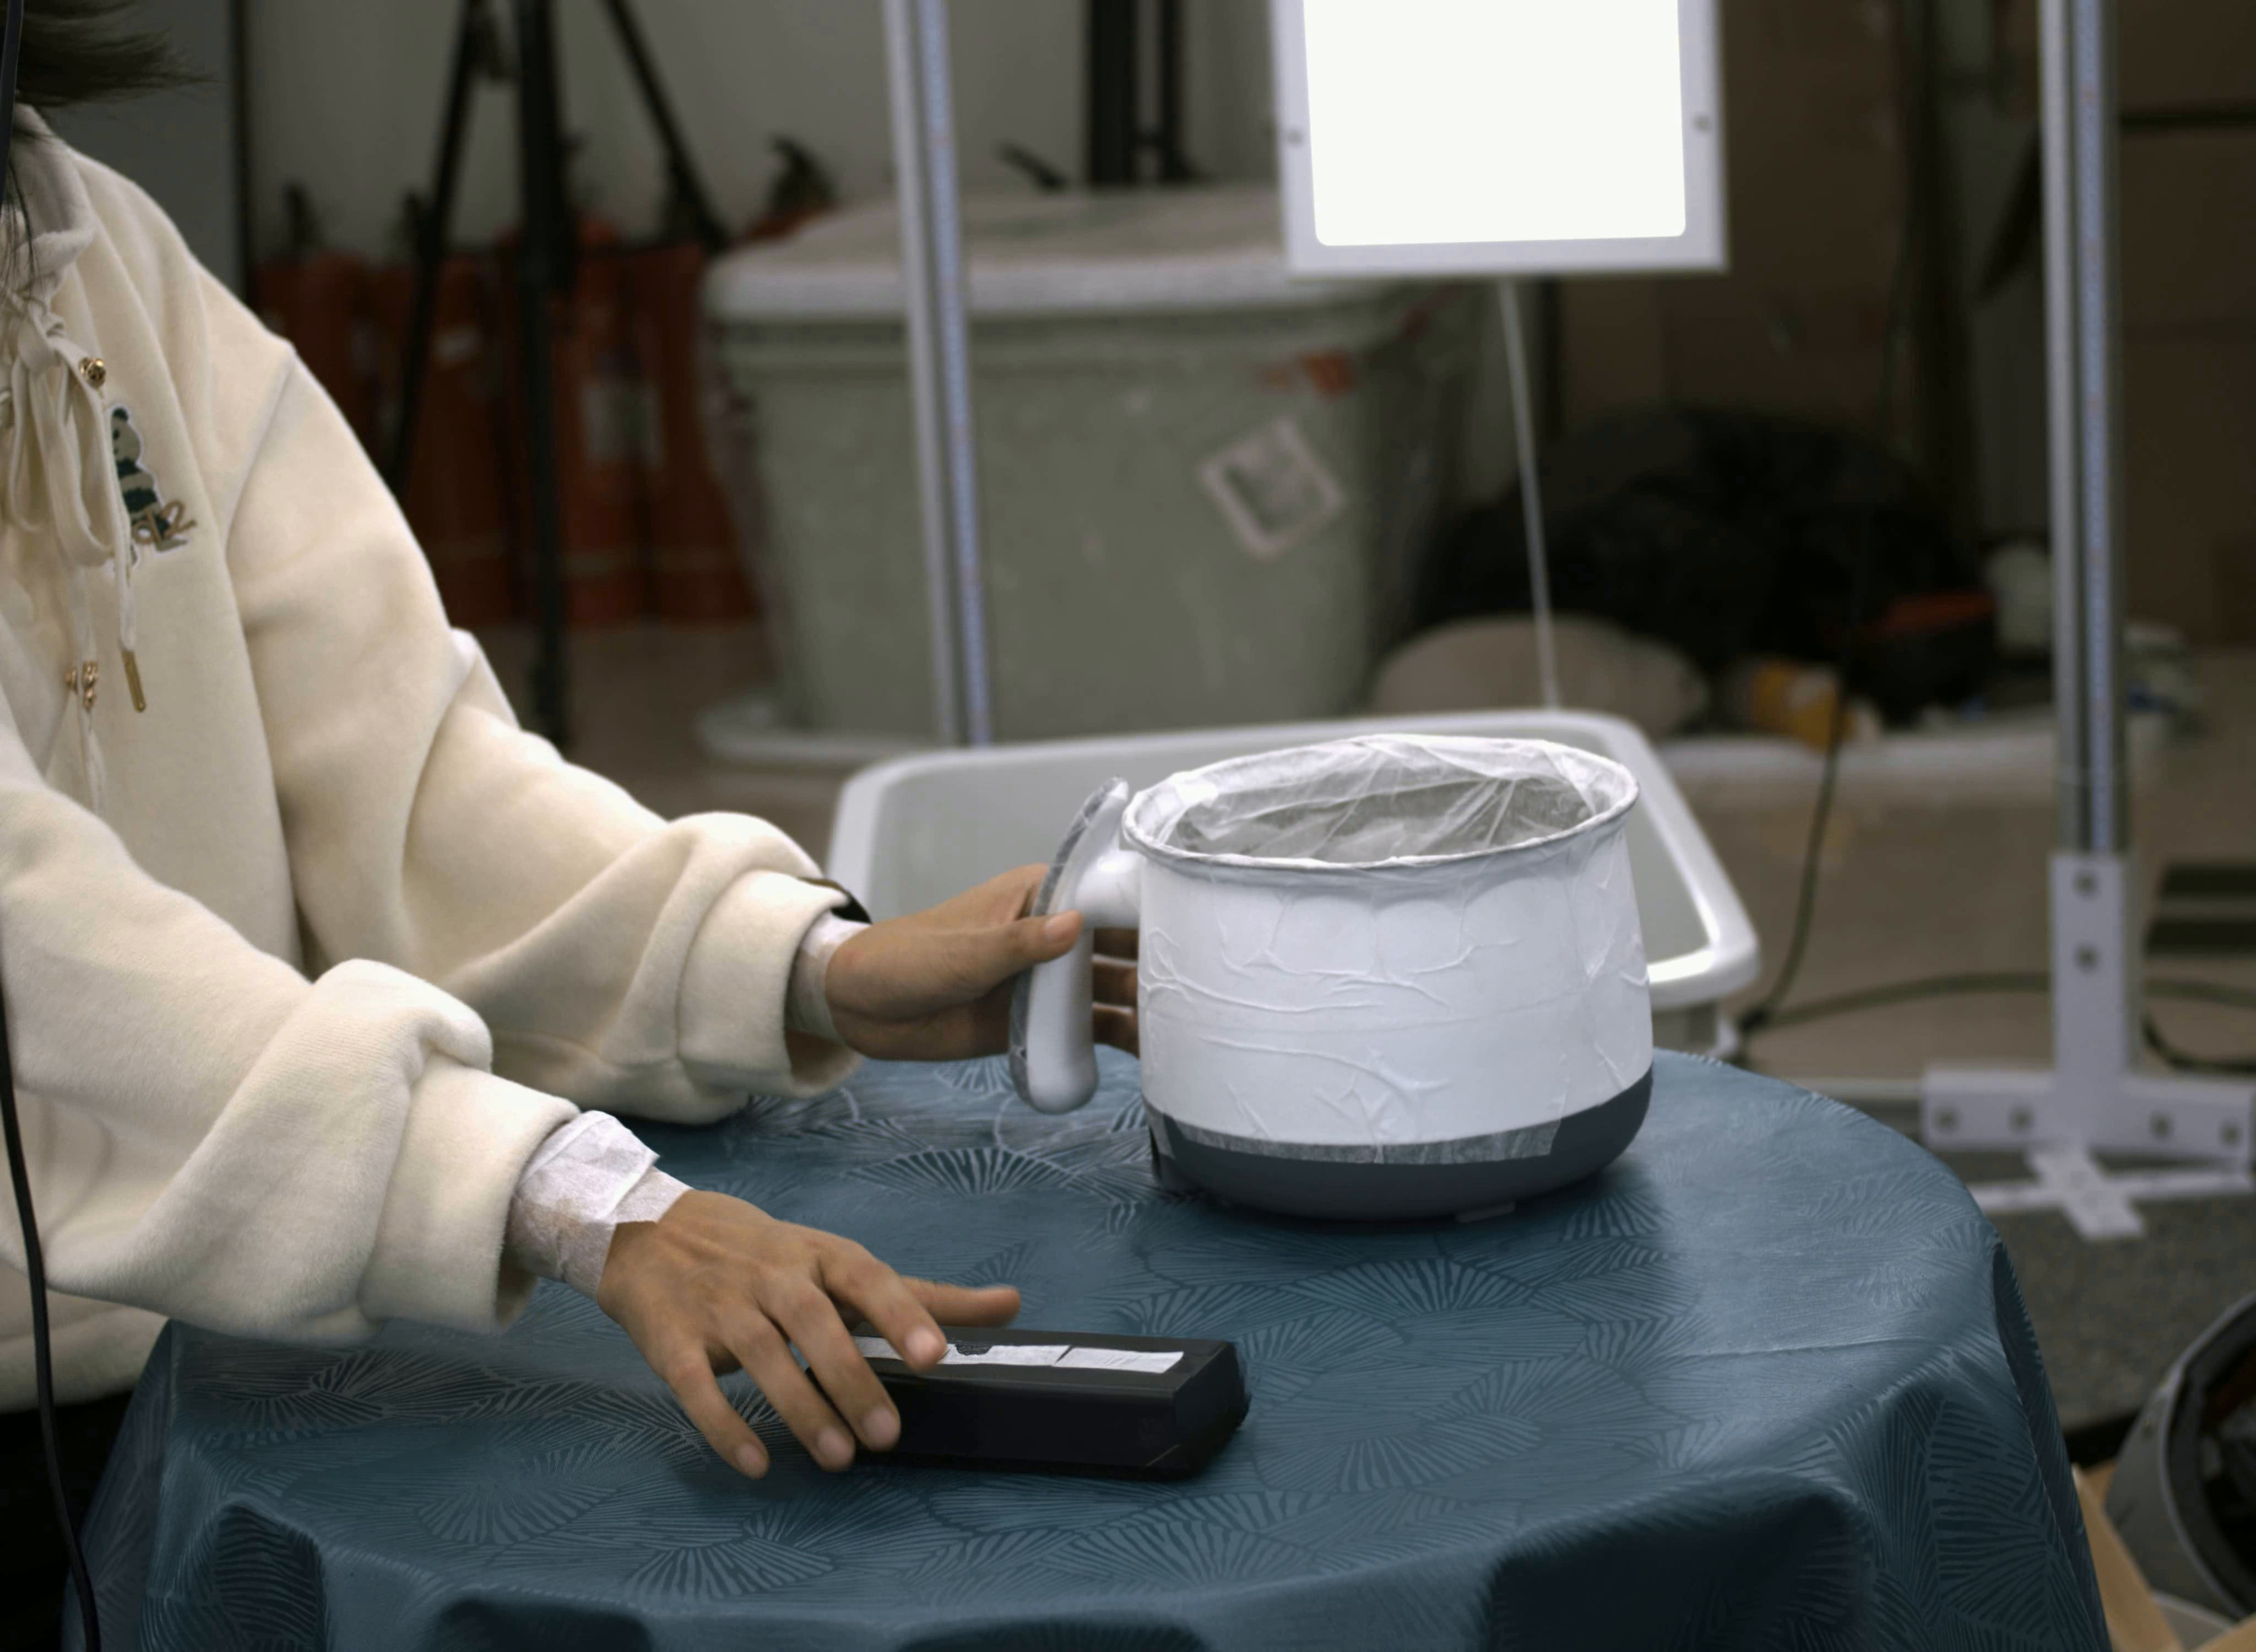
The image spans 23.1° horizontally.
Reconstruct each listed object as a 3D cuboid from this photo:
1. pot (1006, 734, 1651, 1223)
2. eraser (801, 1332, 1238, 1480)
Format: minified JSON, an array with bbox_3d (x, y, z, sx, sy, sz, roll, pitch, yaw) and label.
[{"bbox_3d":[0.065,0.050,1.893,0.237,0.137,0.175,2,15,24],"label":"pot"},{"bbox_3d":[-0.031,0.174,1.660,0.127,0.030,0.052,0,14,24],"label":"eraser"}]
